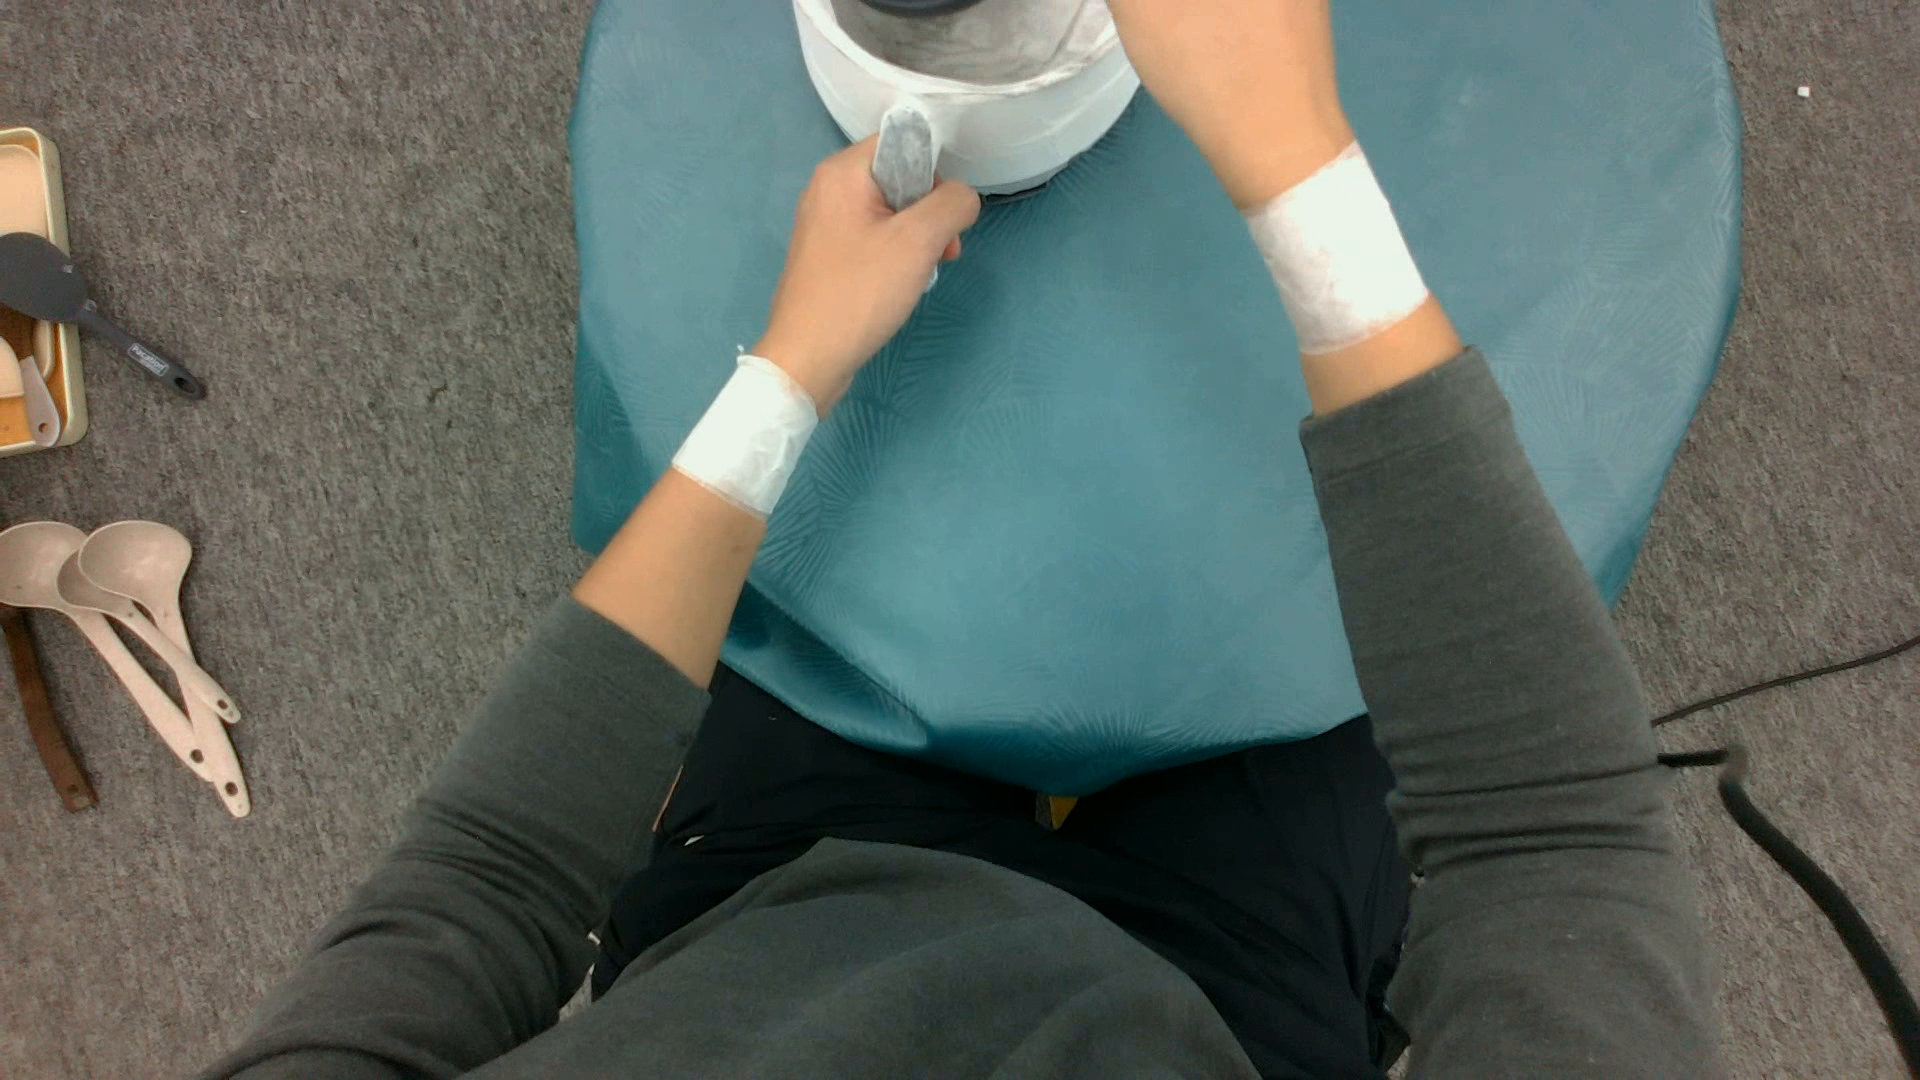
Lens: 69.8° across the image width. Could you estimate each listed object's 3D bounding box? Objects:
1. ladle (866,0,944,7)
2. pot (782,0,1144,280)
[{"bbox_3d":[0.018,-0.253,0.509,0.086,0.314,0.064,-40,108,-7],"label":"ladle"},{"bbox_3d":[-0.006,-0.243,0.646,0.179,0.136,0.234,15,84,2],"label":"pot"}]
